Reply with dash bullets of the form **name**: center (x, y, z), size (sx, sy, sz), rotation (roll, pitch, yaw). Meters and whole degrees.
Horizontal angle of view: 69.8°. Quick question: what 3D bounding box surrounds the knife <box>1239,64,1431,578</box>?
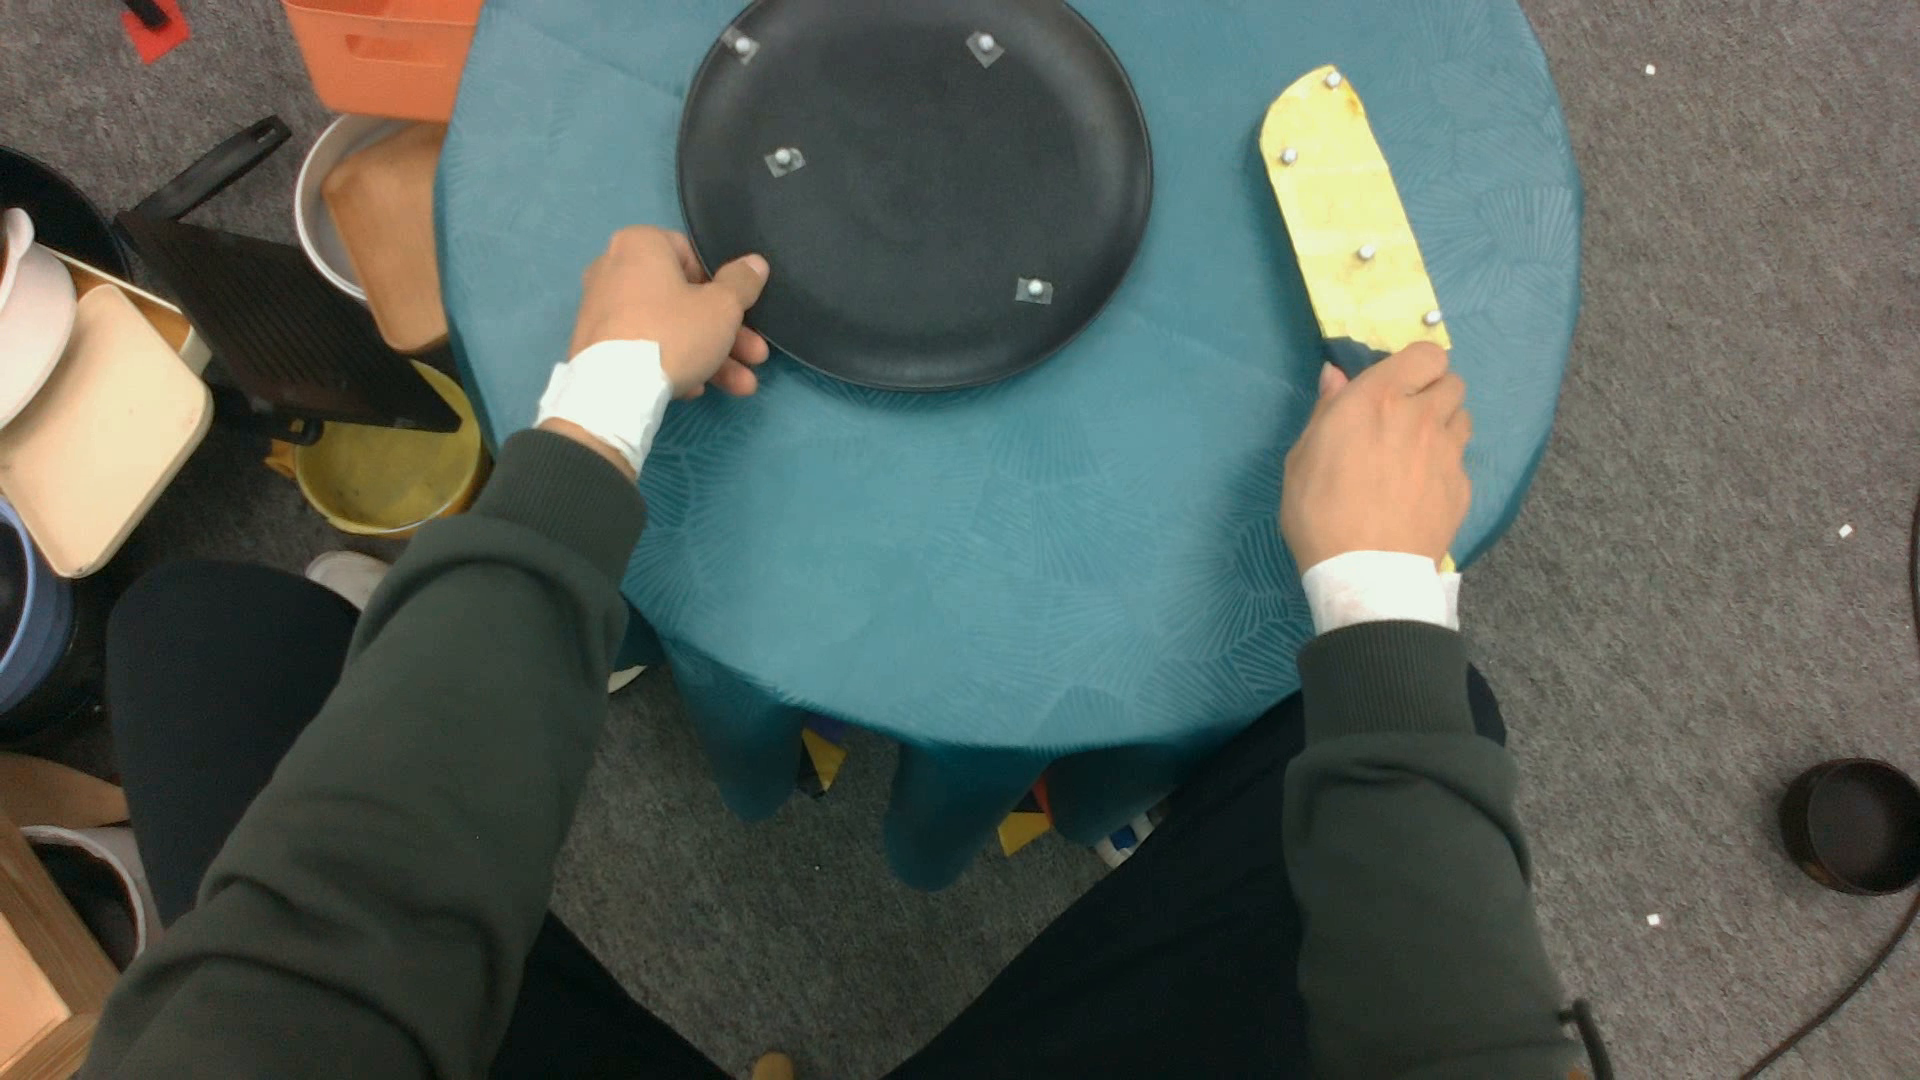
- **knife**: center (0.203, -0.121, 0.710), size (0.081, 0.027, 0.290), rotation (-6, 75, -18)

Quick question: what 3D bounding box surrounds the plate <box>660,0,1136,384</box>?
- **plate**: center (-0.031, -0.195, 0.712), size (0.244, 0.023, 0.245), rotation (1, 77, -5)
